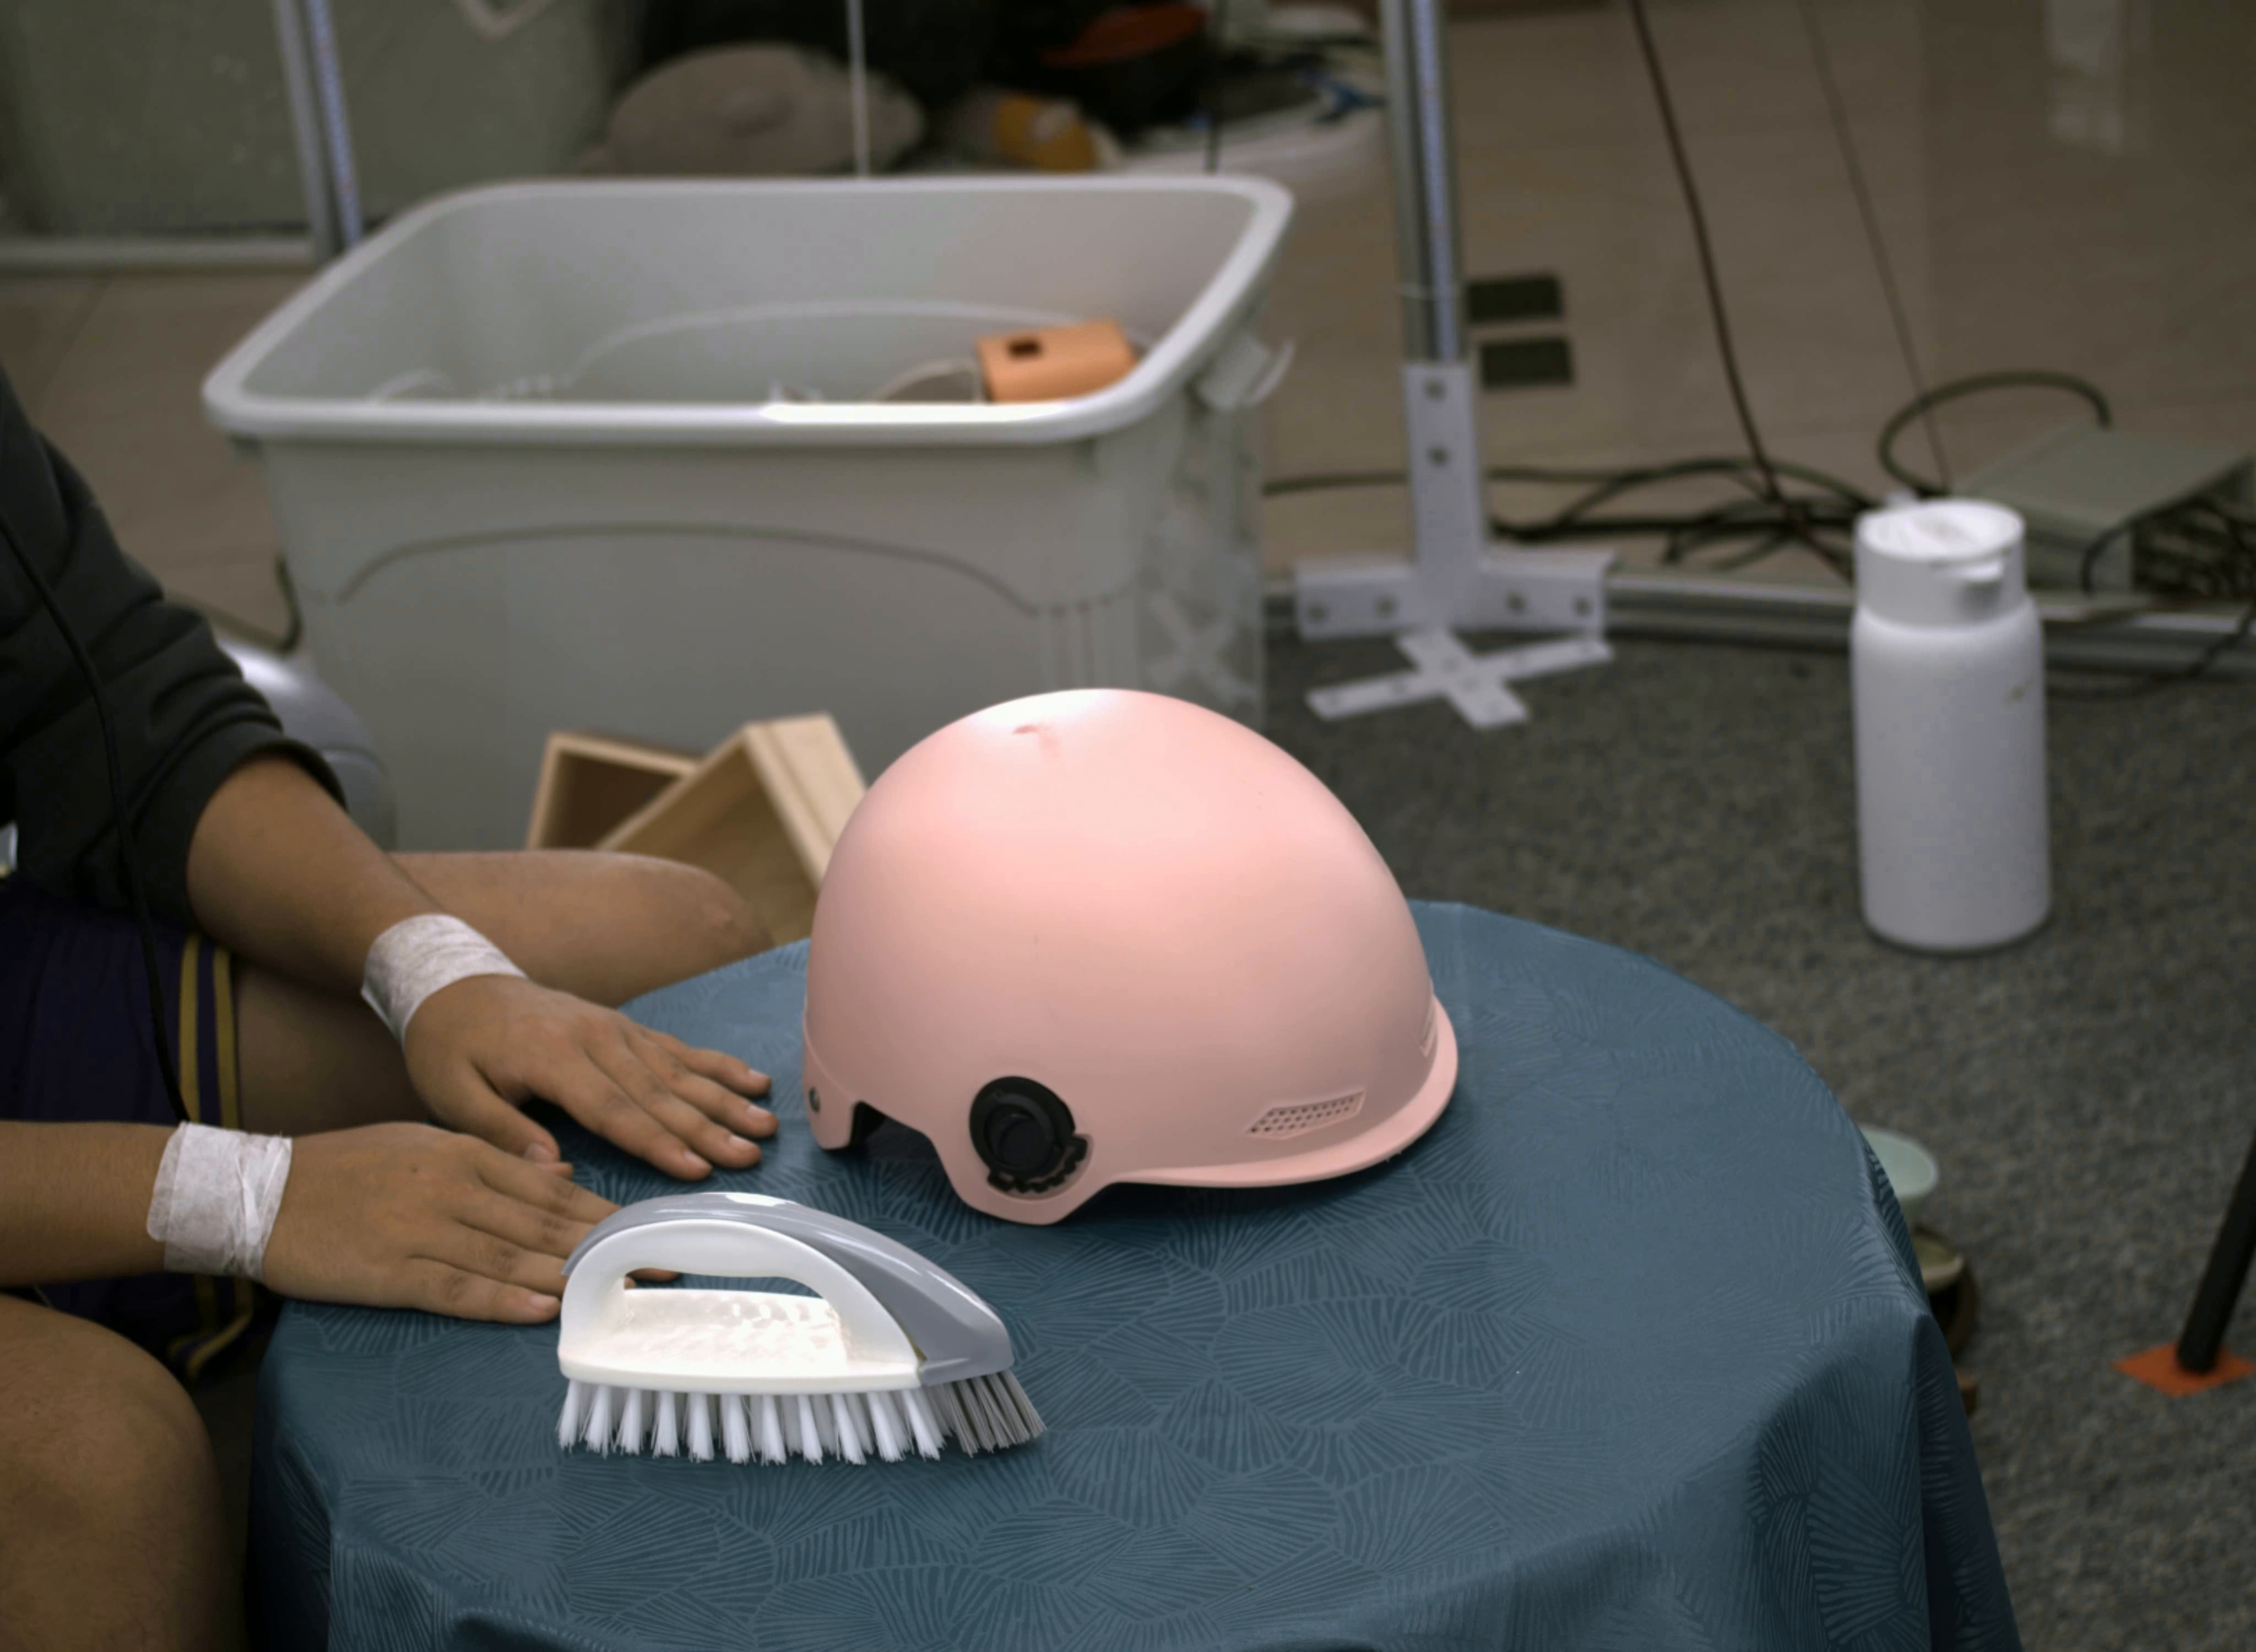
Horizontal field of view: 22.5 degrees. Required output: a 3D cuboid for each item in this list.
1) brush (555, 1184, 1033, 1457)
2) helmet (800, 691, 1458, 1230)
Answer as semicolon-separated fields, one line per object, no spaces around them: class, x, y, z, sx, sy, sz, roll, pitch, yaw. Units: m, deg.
brush;-0.120;0.171;1.998;0.175;0.096;0.060;4;28;17
helmet;-0.003;0.036;2.187;0.264;0.161;0.231;15;32;30
